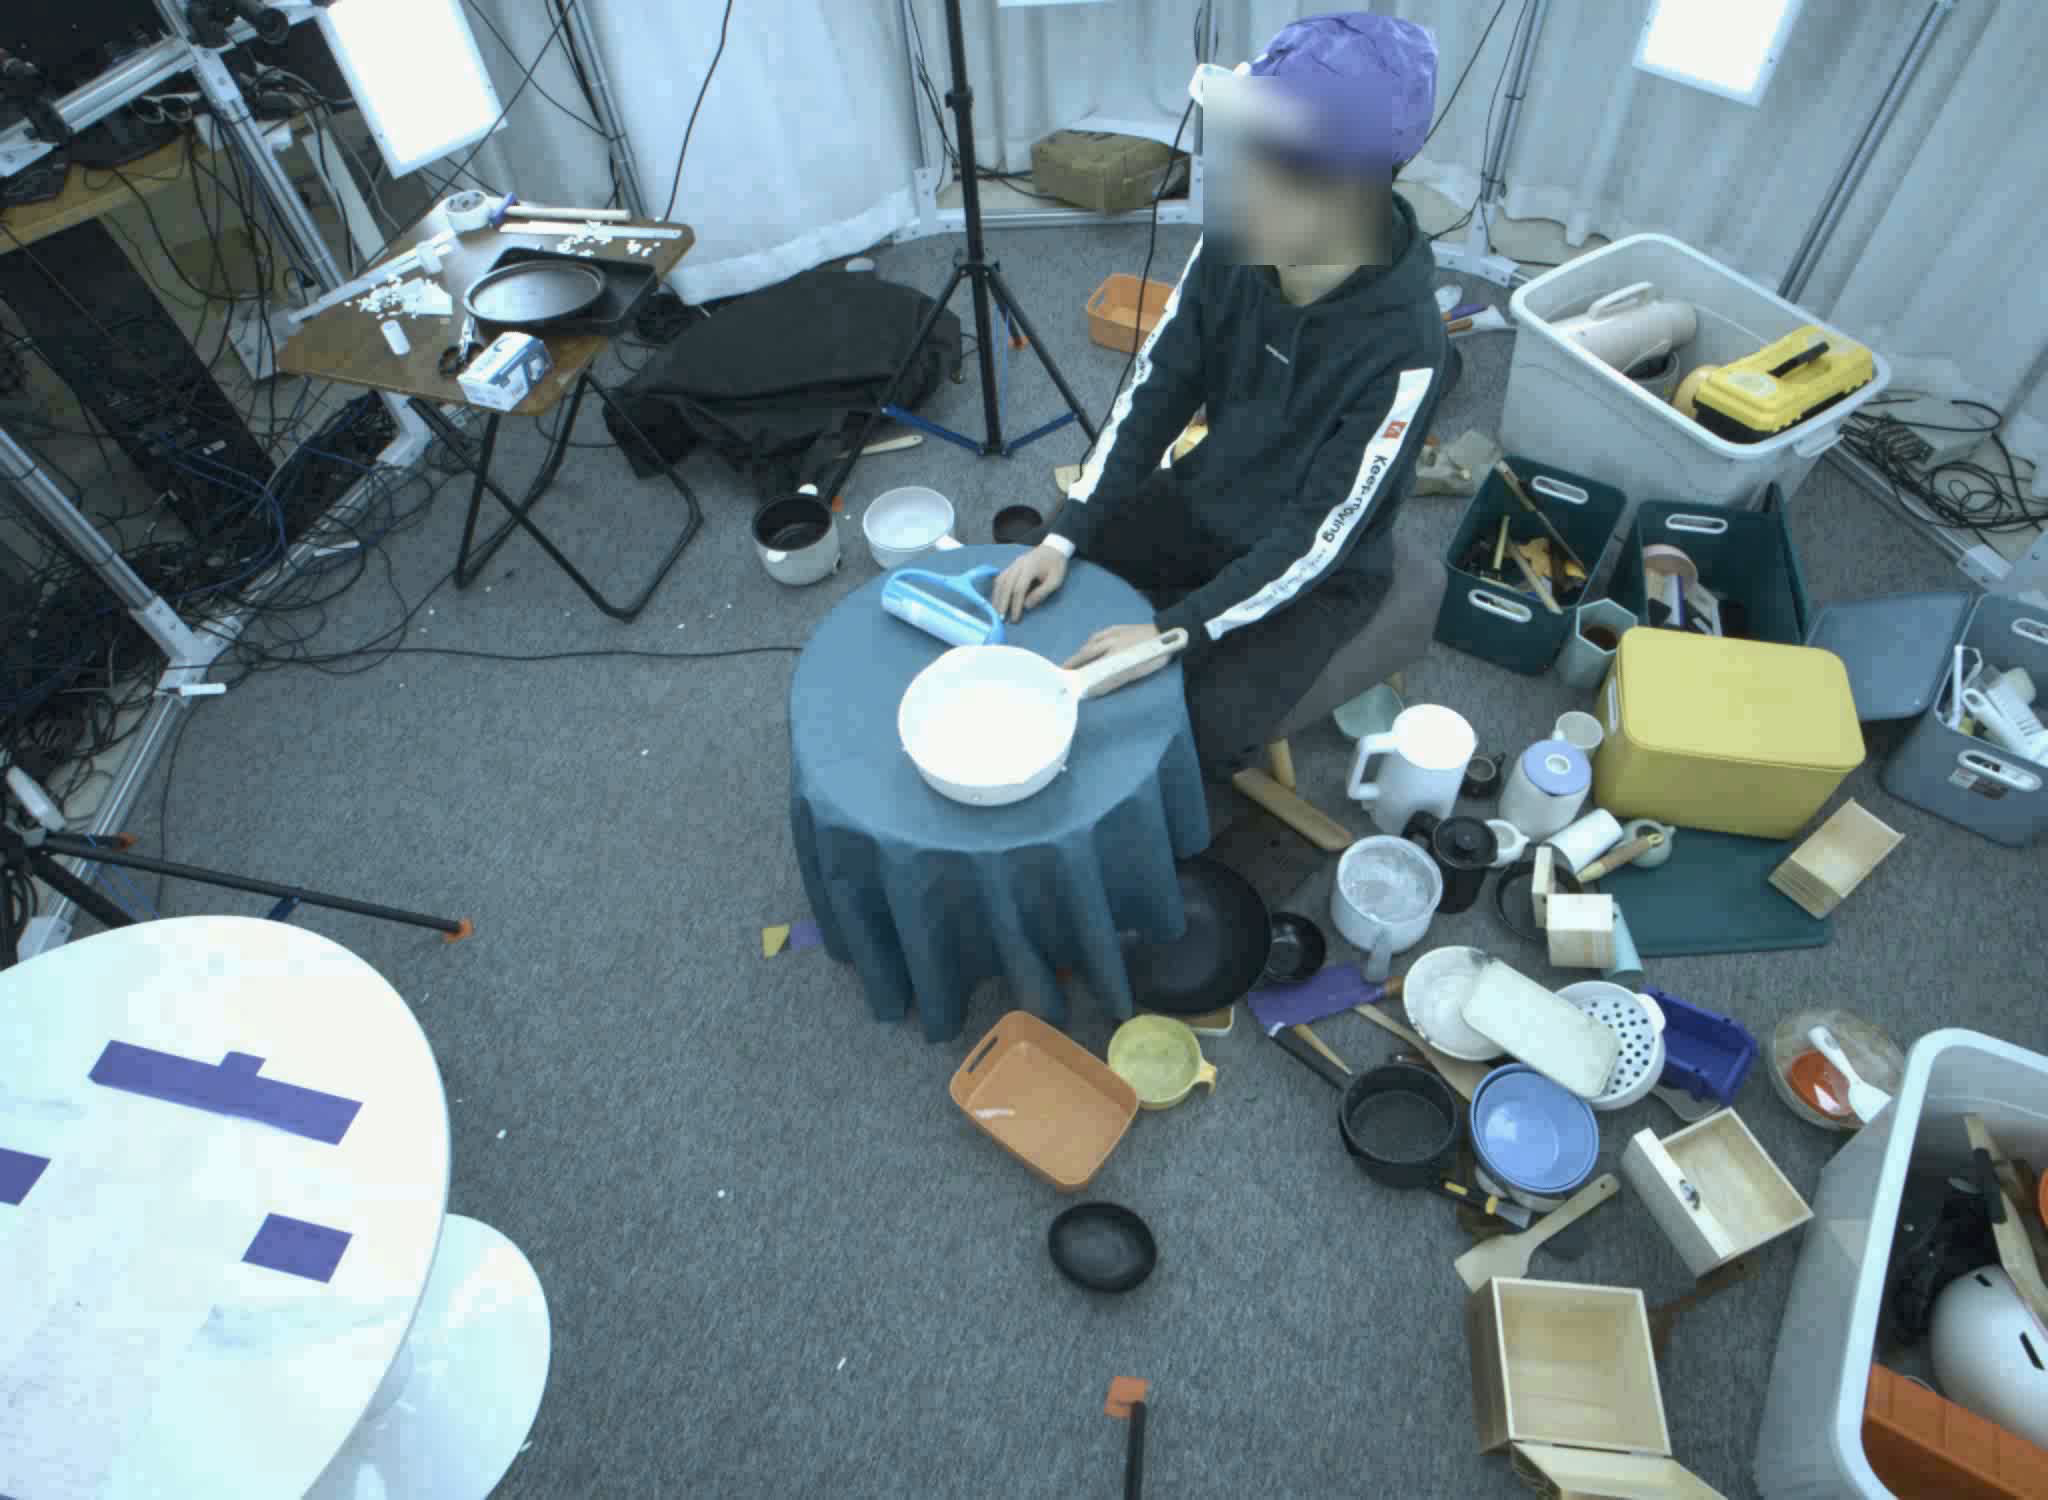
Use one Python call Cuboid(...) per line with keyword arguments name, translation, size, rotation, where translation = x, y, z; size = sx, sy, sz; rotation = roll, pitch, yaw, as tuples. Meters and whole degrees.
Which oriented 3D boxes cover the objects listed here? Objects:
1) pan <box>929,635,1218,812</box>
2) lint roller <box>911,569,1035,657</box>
Cuboid(name="pan", translation=(0.079, -0.055, 1.757), size=(0.438, 0.103, 0.258), rotation=(-19, 55, -12))
Cuboid(name="lint roller", translation=(-0.049, -0.240, 1.920), size=(0.225, 0.069, 0.181), rotation=(27, 61, 21))
